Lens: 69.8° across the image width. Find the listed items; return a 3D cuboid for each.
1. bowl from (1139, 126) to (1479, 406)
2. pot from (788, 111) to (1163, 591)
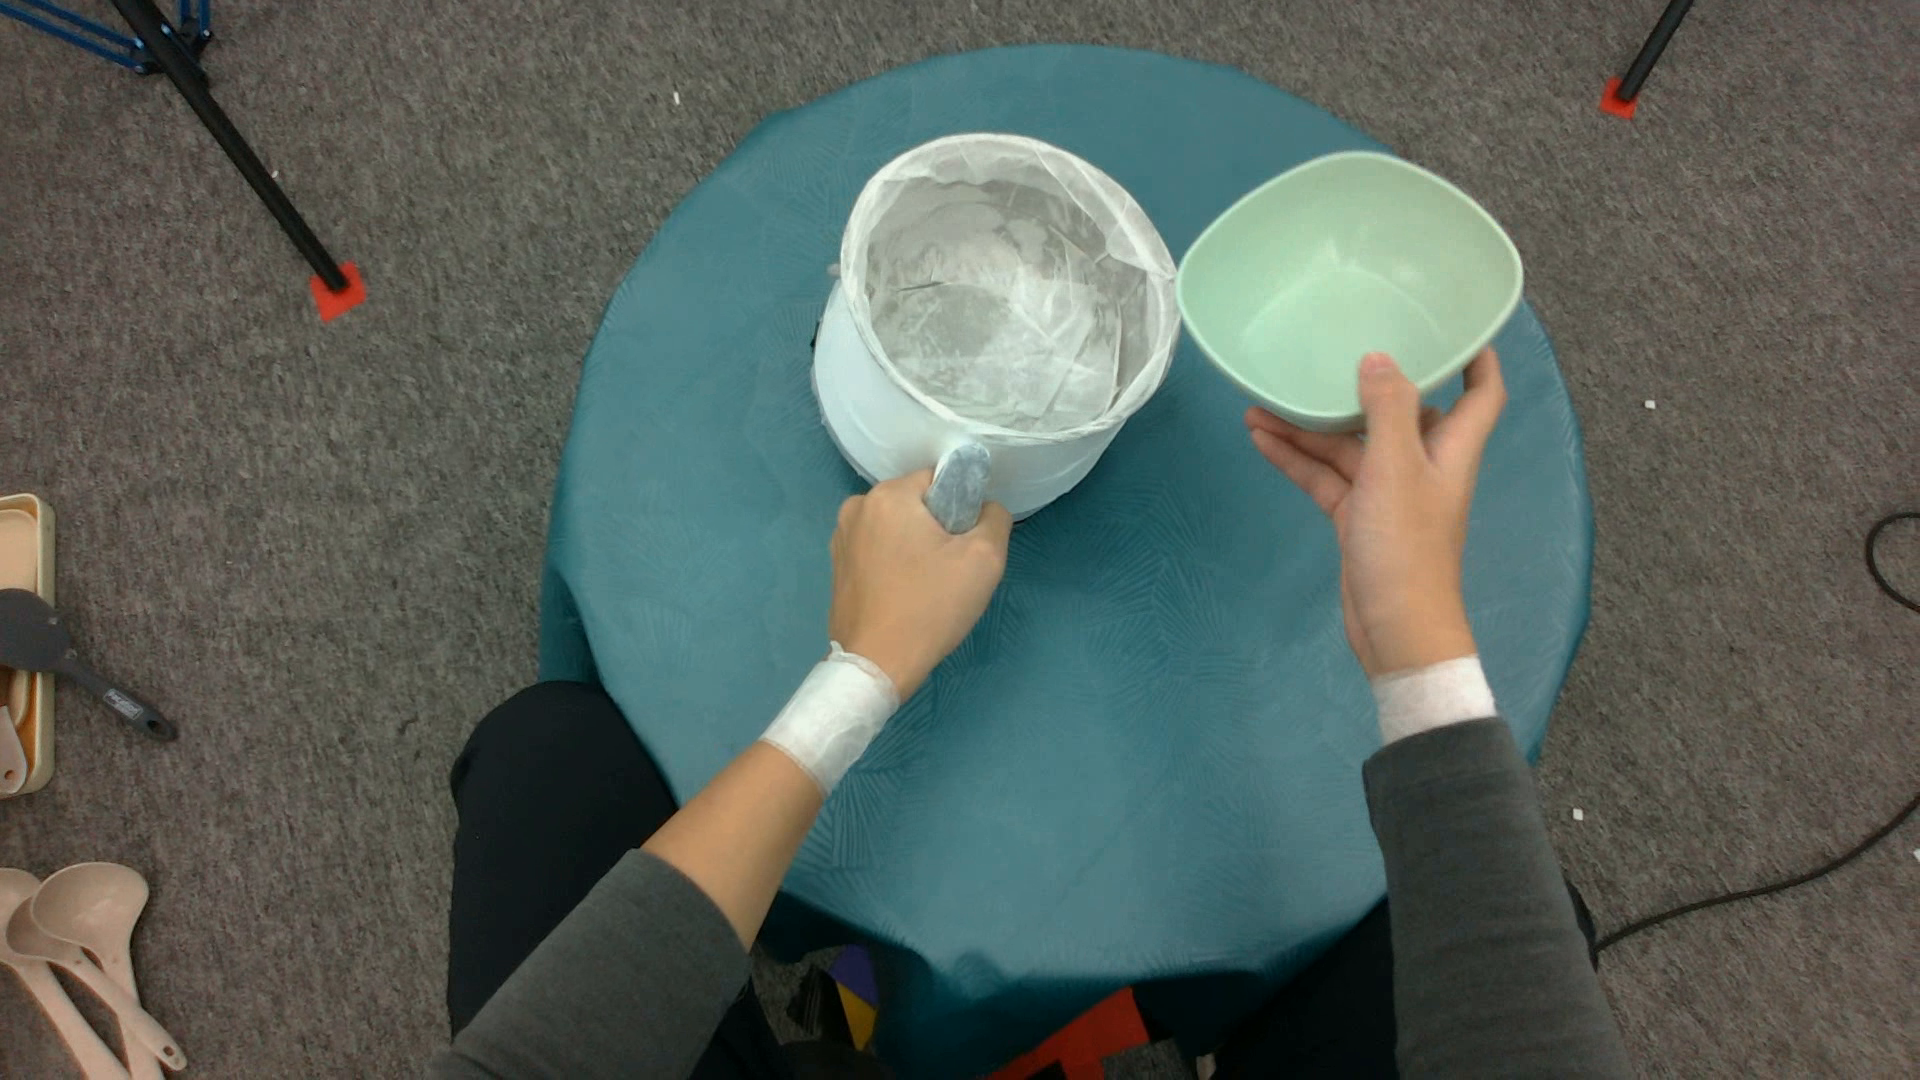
[{"bbox_3d":[0.163,-0.118,0.643,0.151,0.058,0.152,-11,56,17],"label":"bowl"},{"bbox_3d":[-0.002,-0.093,0.731,0.179,0.136,0.234,16,66,-9],"label":"pot"}]
